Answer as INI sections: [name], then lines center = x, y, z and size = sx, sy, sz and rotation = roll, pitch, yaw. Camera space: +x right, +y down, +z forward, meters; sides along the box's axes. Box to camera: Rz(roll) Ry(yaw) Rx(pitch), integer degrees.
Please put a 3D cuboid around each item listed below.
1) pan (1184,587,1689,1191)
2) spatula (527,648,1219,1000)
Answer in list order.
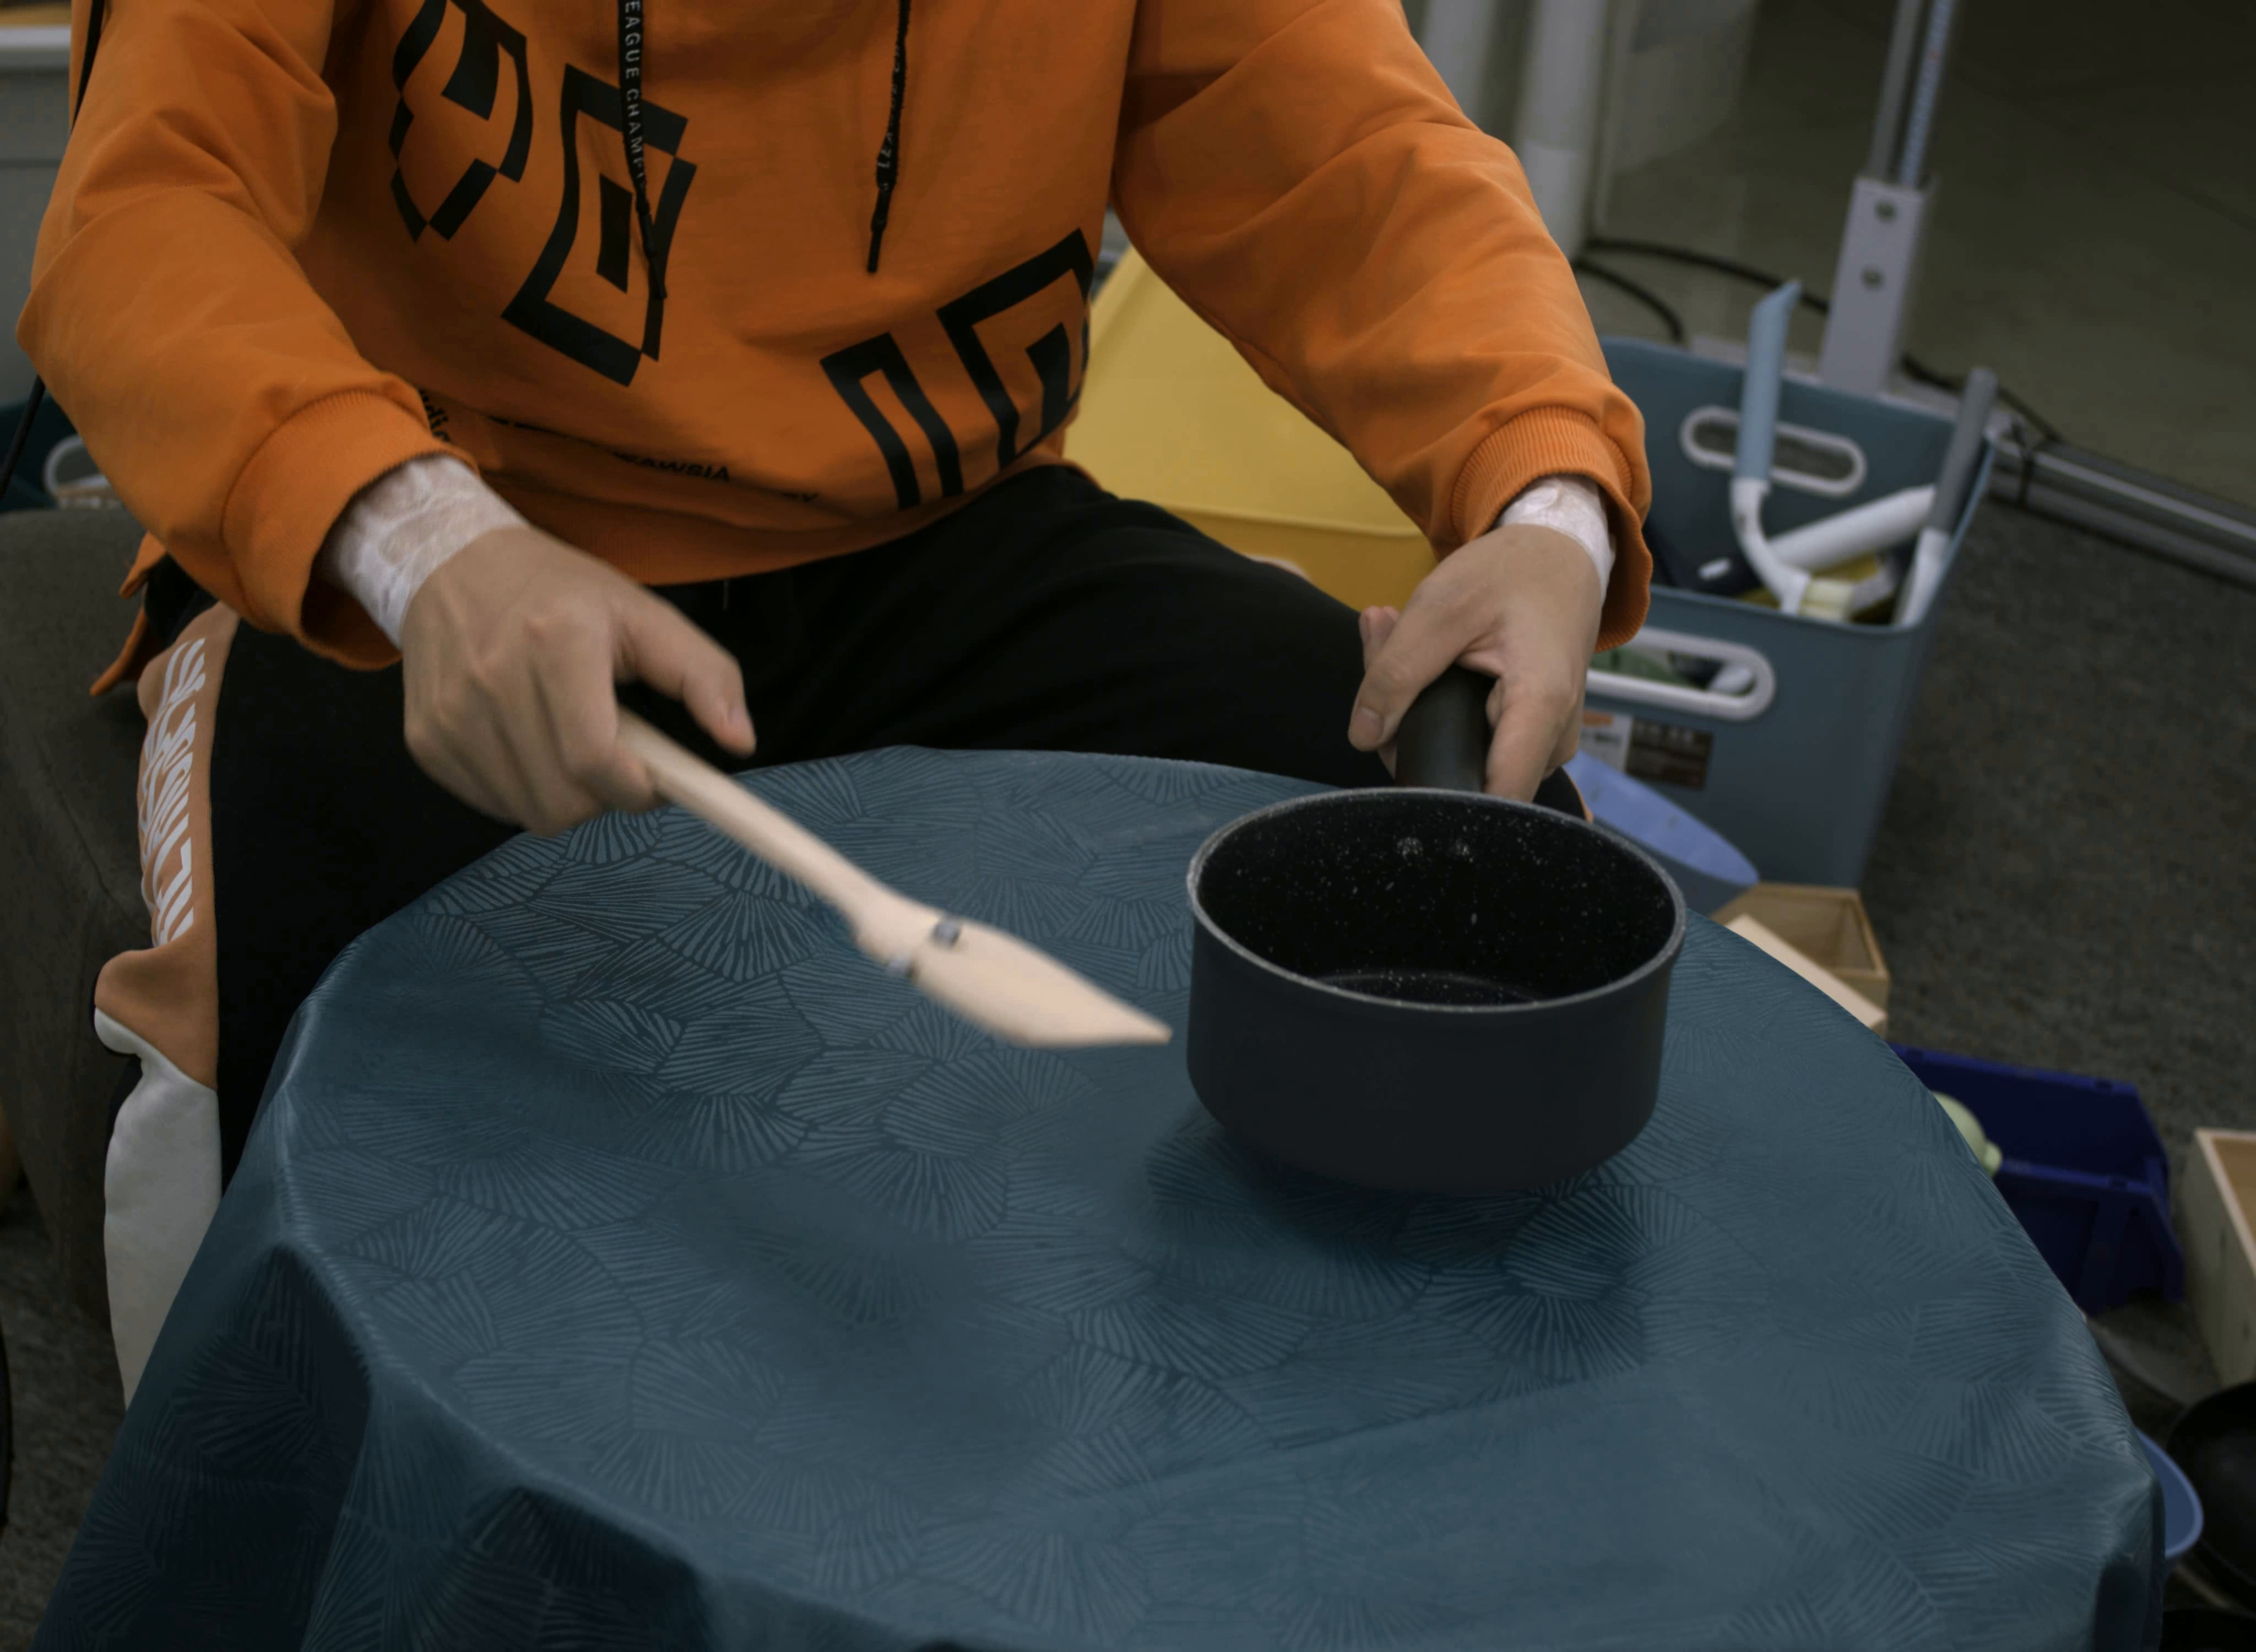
[pan]
center = 0.112, 0.018, 1.888
size = 0.172, 0.086, 0.330
rotation = 6, 27, 5
[spatula]
center = -0.096, -0.003, 1.771
size = 0.295, 0.010, 0.071
rotation = 27, 6, 34
